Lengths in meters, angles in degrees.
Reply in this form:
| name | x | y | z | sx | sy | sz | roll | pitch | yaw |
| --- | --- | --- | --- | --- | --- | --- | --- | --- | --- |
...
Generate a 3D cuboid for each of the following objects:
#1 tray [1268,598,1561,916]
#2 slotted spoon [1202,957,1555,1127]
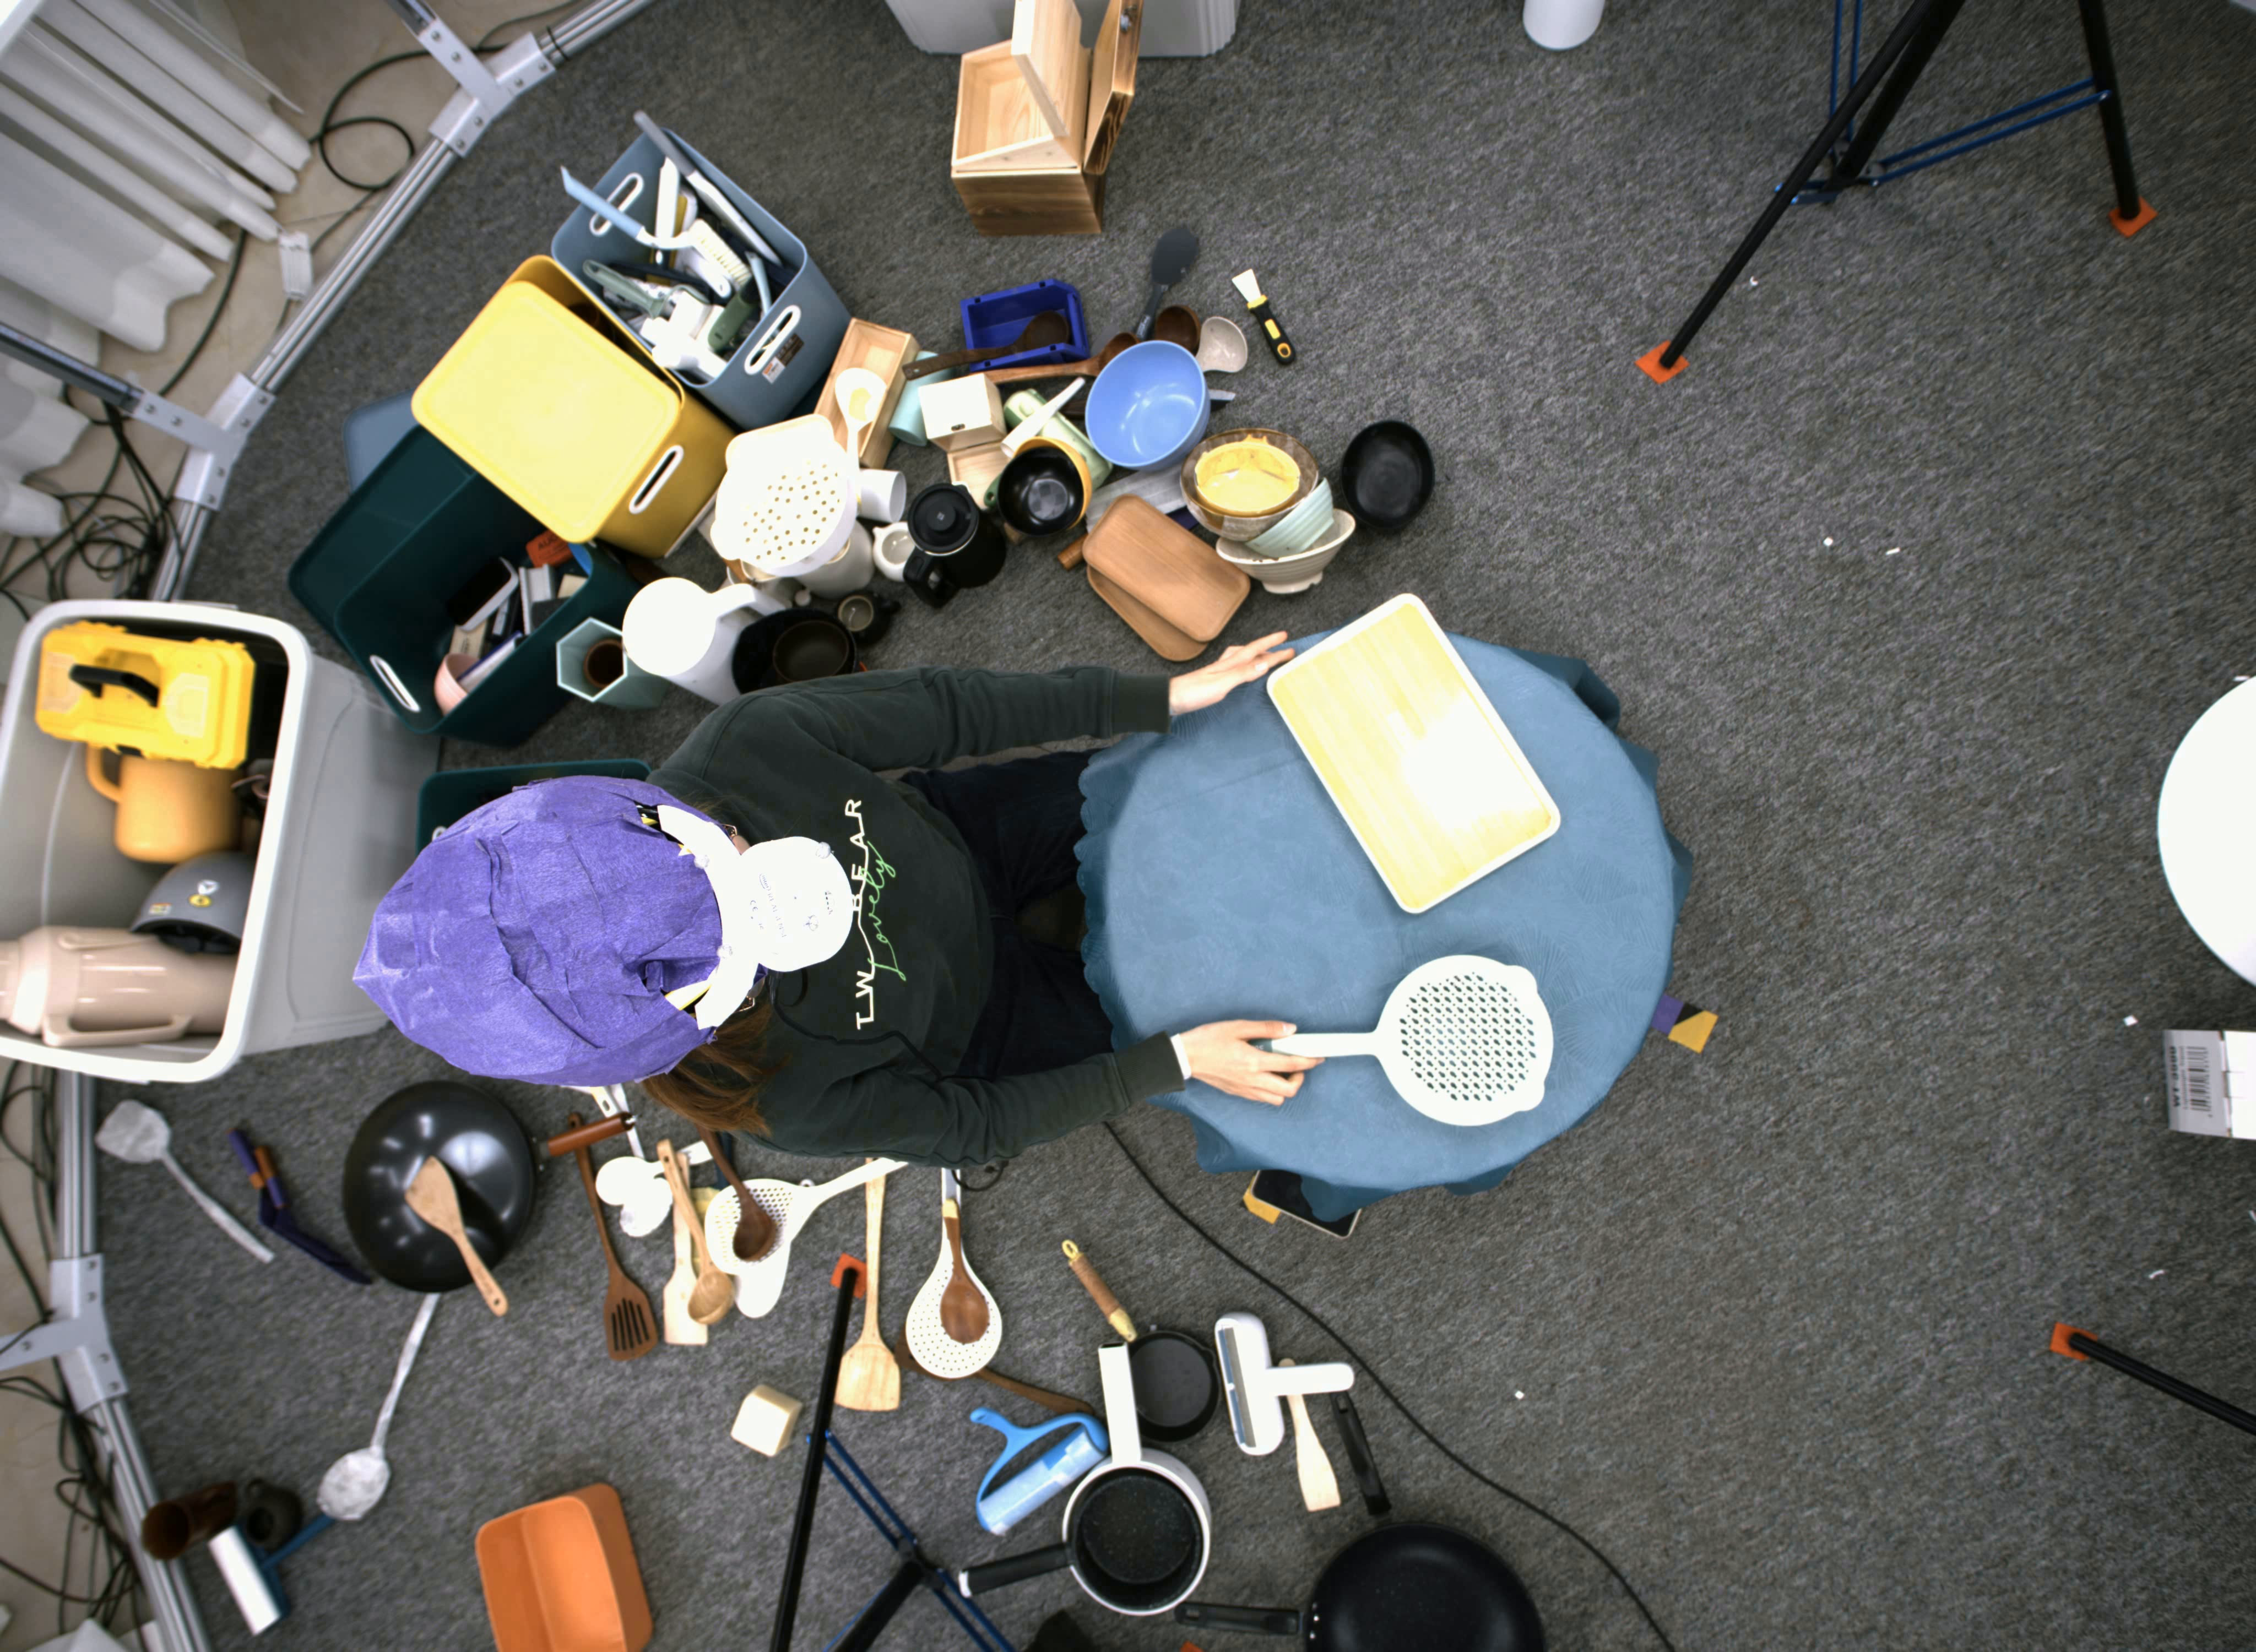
| name | x | y | z | sx | sy | sz | roll | pitch | yaw |
| --- | --- | --- | --- | --- | --- | --- | --- | --- | --- |
| tray | 0.300 | -0.075 | 1.456 | 0.192 | 0.027 | 0.298 | -31 | 81 | 7 |
| slotted spoon | 0.251 | 0.224 | 1.425 | 0.360 | 0.075 | 0.168 | -4 | 86 | 10 |
